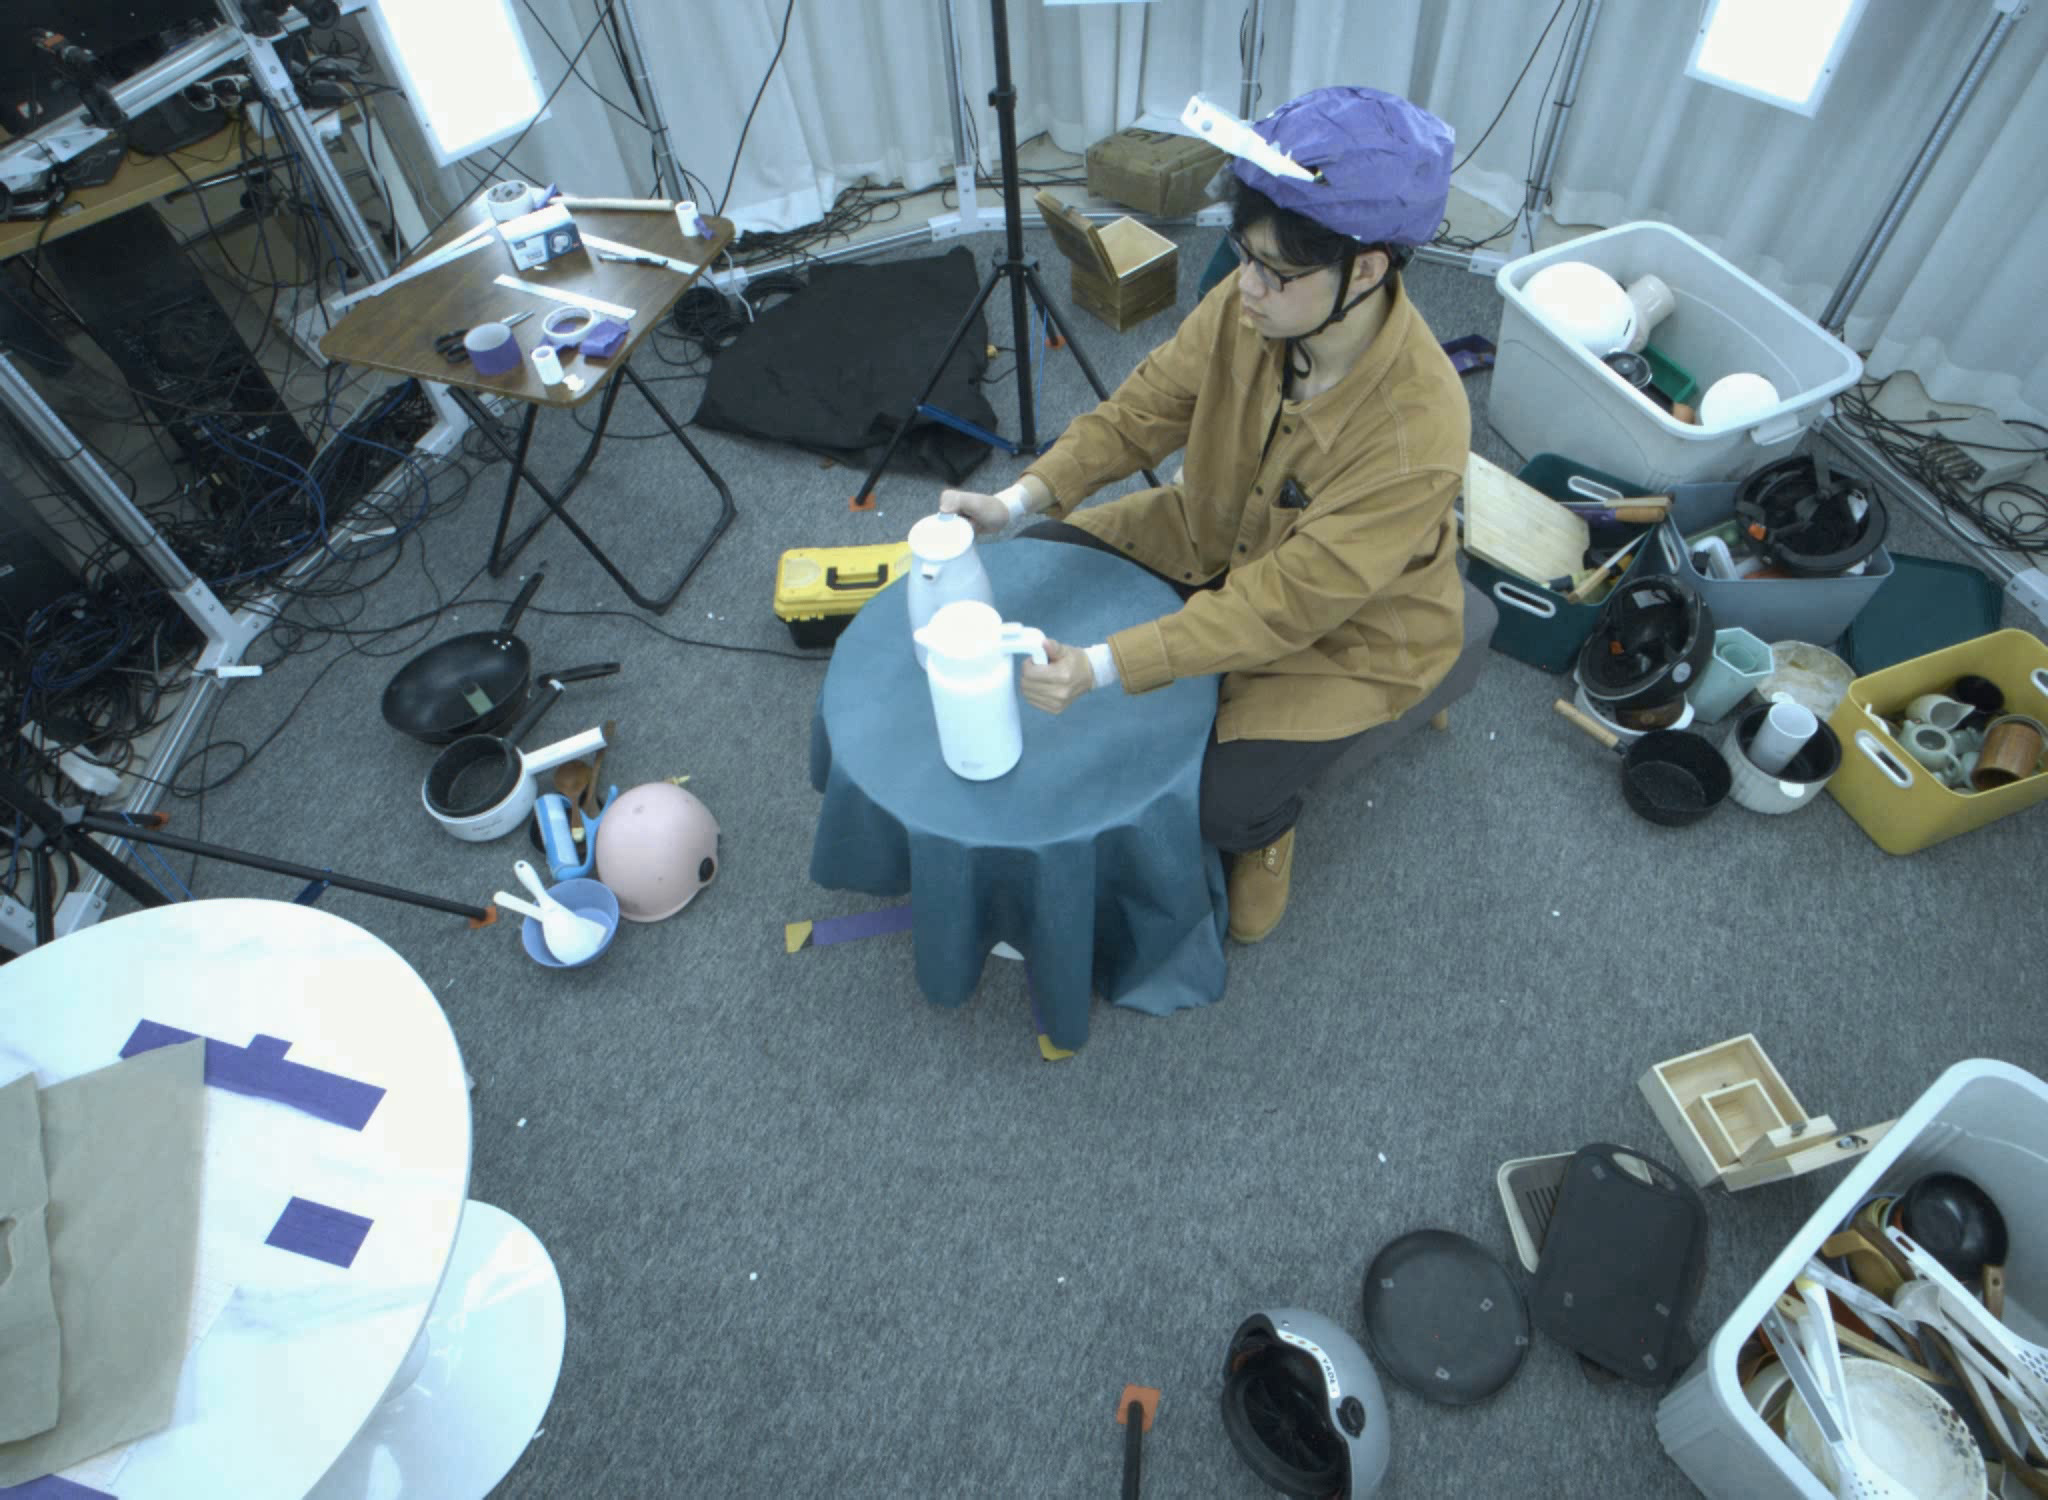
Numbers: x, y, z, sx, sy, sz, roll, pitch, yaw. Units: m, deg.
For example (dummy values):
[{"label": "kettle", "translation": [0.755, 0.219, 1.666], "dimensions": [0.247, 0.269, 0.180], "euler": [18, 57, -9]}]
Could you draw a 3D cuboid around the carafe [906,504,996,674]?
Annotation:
[{"label": "carafe", "translation": [-0.107, -0.246, 1.808], "dimensions": [0.131, 0.251, 0.167], "euler": [11, 55, 11]}]

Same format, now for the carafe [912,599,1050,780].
[{"label": "carafe", "translation": [-0.051, -0.080, 1.677], "dimensions": [0.173, 0.272, 0.122], "euler": [-3, 52, 1]}]
